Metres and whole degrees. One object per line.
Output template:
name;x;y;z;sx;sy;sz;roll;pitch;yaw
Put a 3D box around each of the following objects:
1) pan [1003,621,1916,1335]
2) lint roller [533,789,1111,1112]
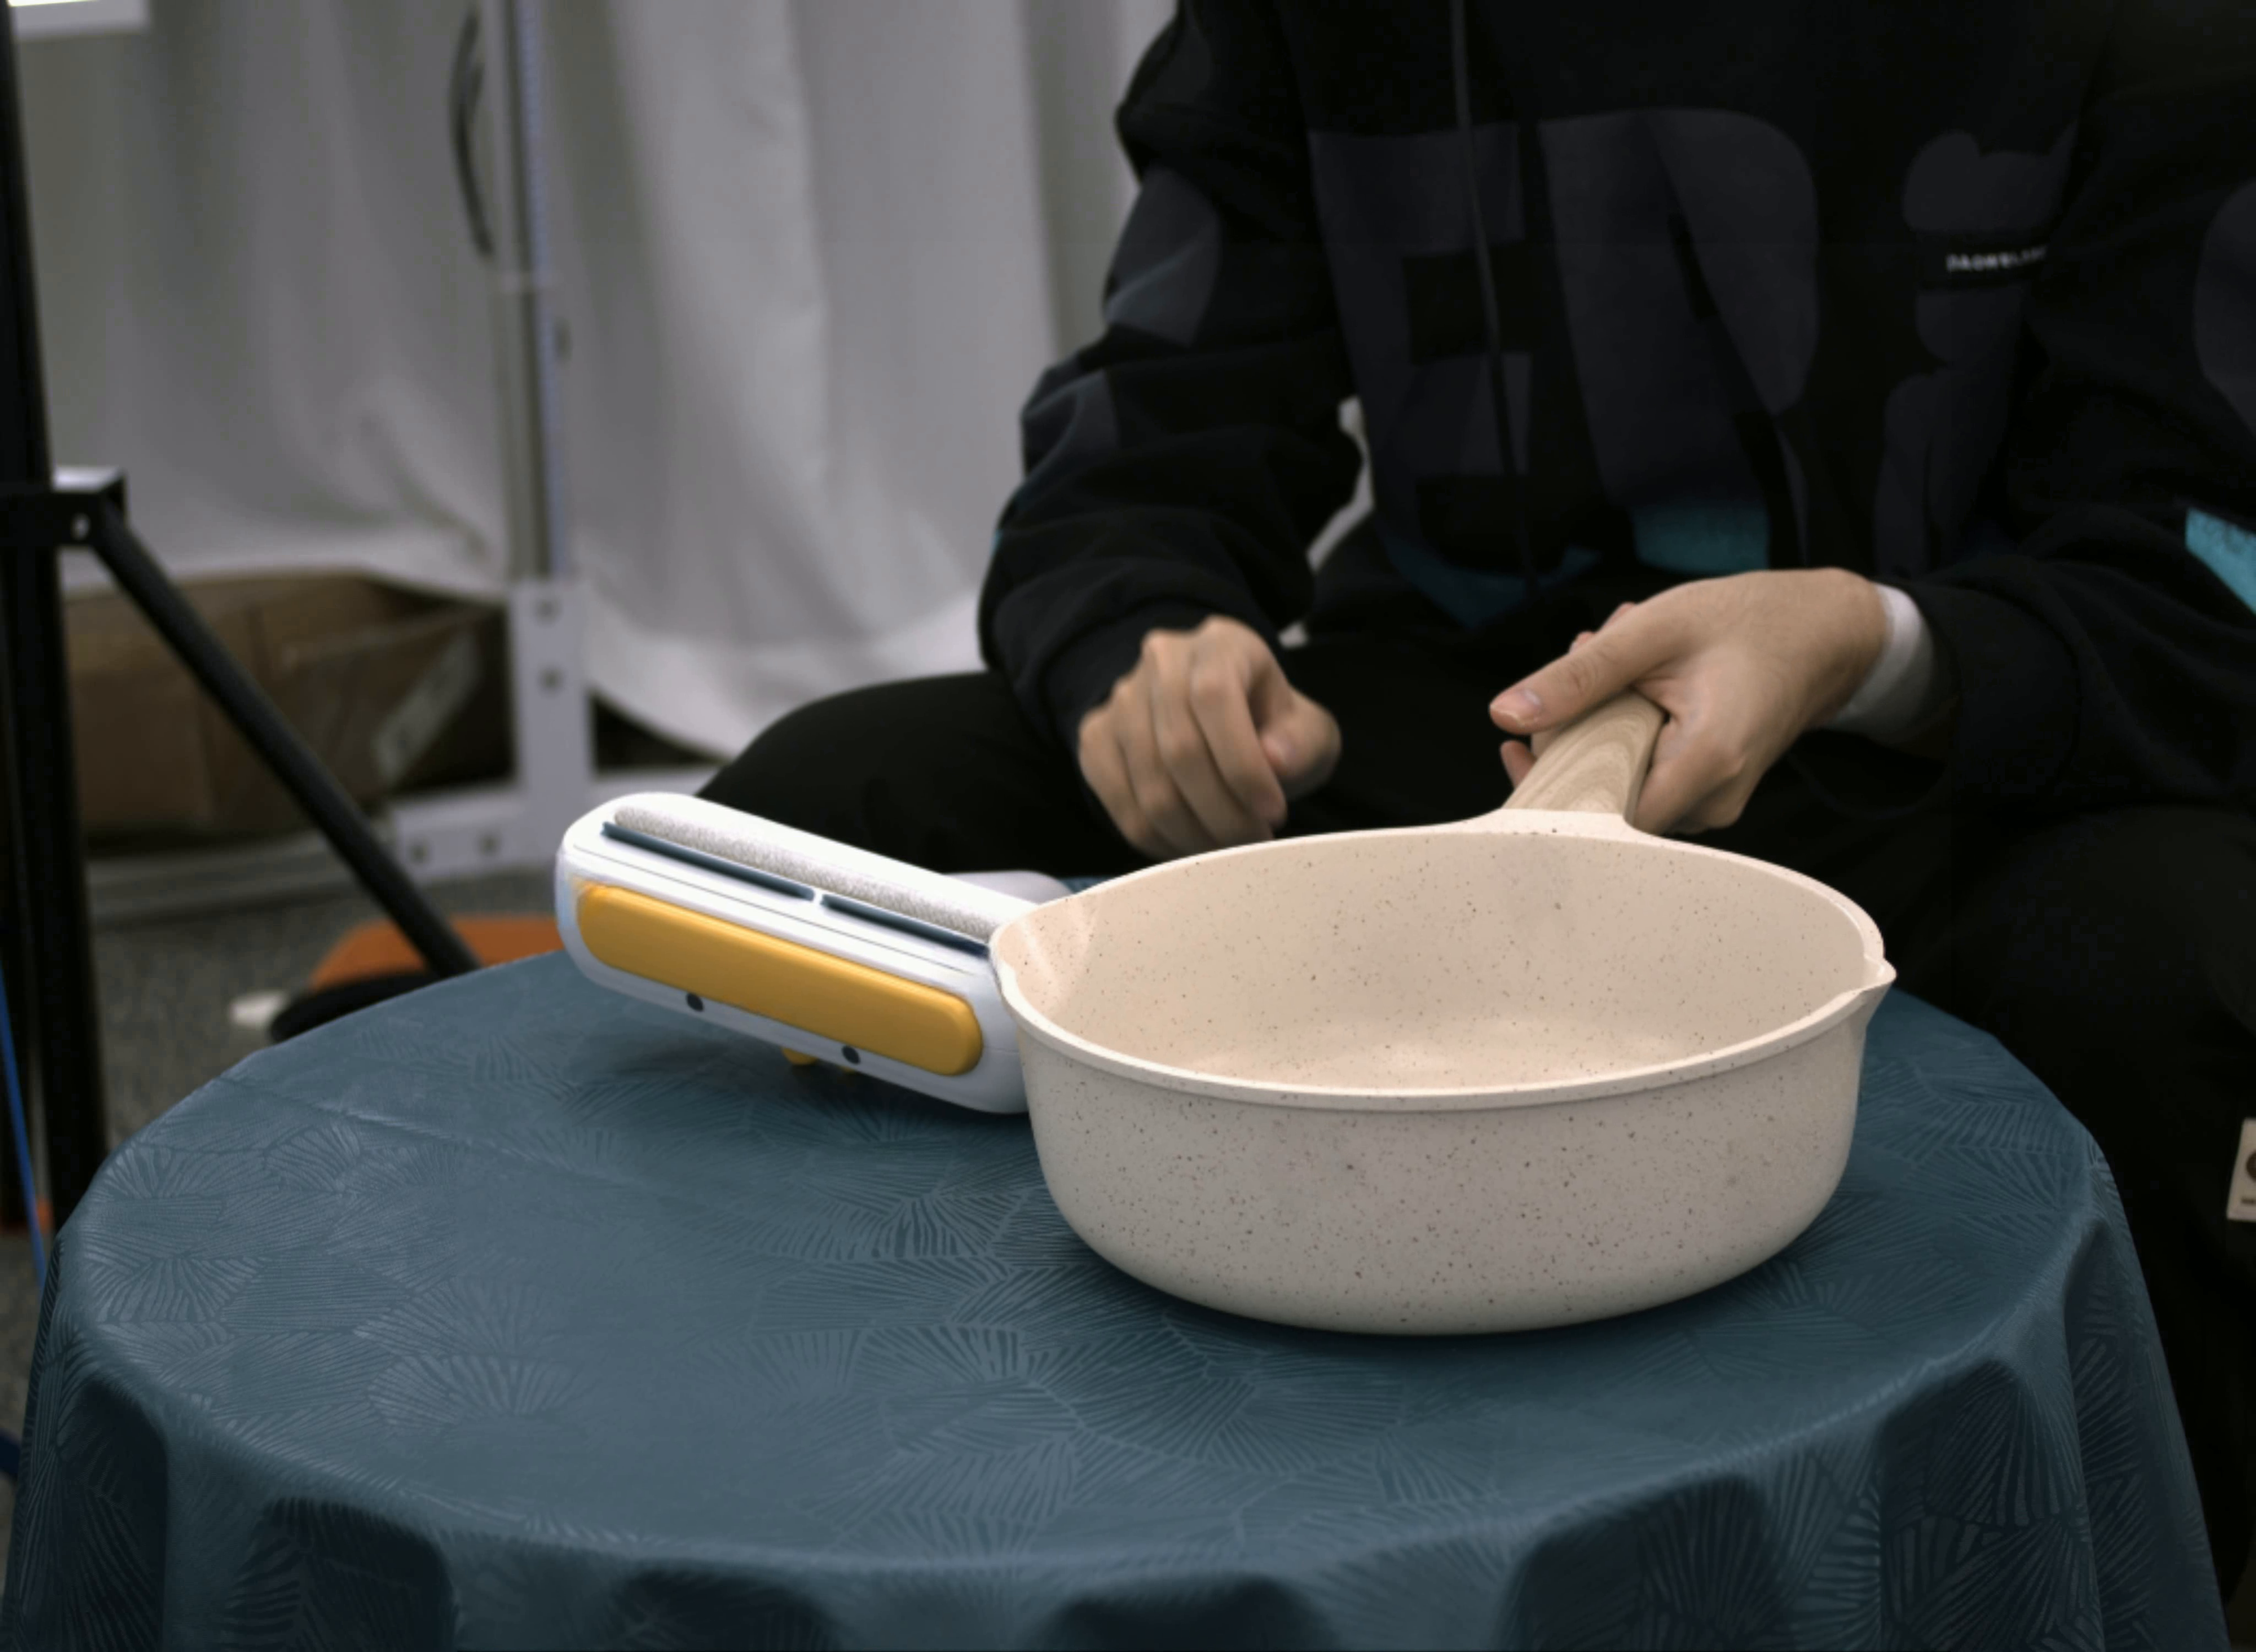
pan;0.121;0.041;1.589;0.266;0.102;0.430;0;16;19
lint roller;-0.068;0.031;1.717;0.196;0.074;0.188;13;20;31
